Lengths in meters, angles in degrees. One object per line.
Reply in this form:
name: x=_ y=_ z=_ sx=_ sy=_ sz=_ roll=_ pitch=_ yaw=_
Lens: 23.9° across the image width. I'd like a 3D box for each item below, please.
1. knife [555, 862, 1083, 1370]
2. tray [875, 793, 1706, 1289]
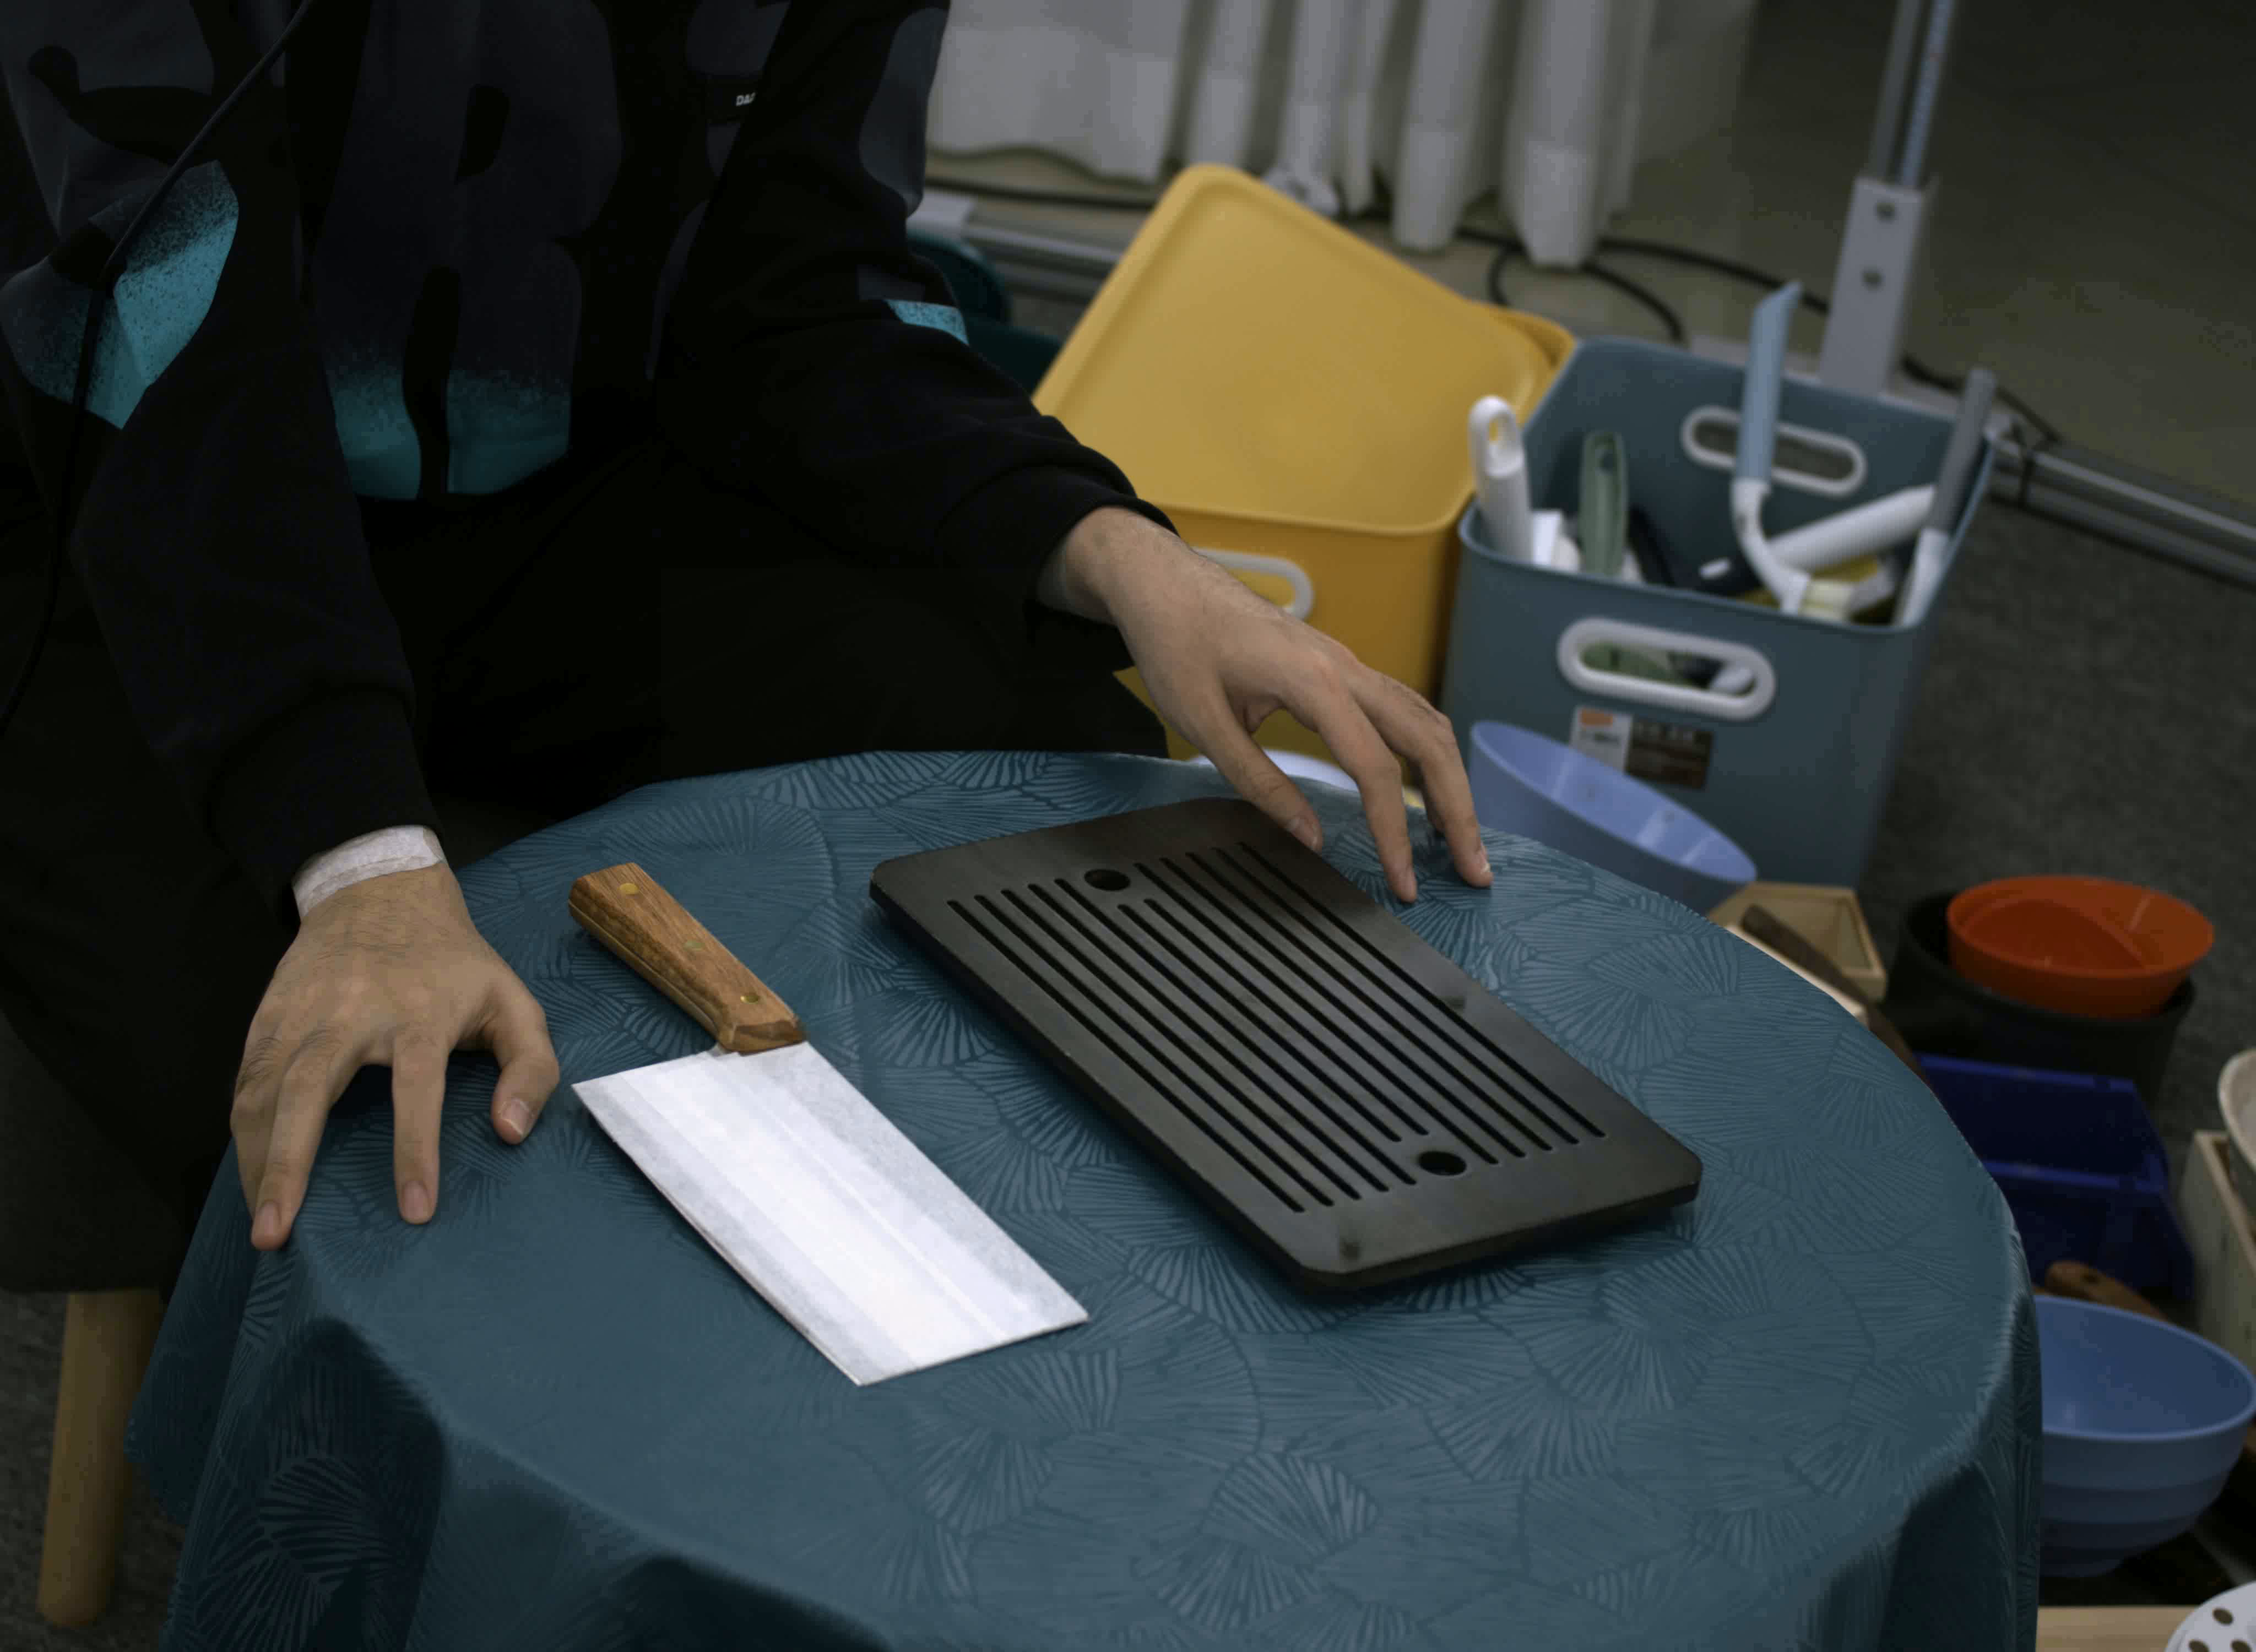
knife: x=-0.131 y=0.097 z=1.809 sx=0.092 sy=0.021 sz=0.308 roll=-13 pitch=35 yaw=-31
tray: x=0.052 y=0.073 z=1.893 sx=0.169 sy=0.018 sz=0.309 roll=-11 pitch=32 yaw=-30
